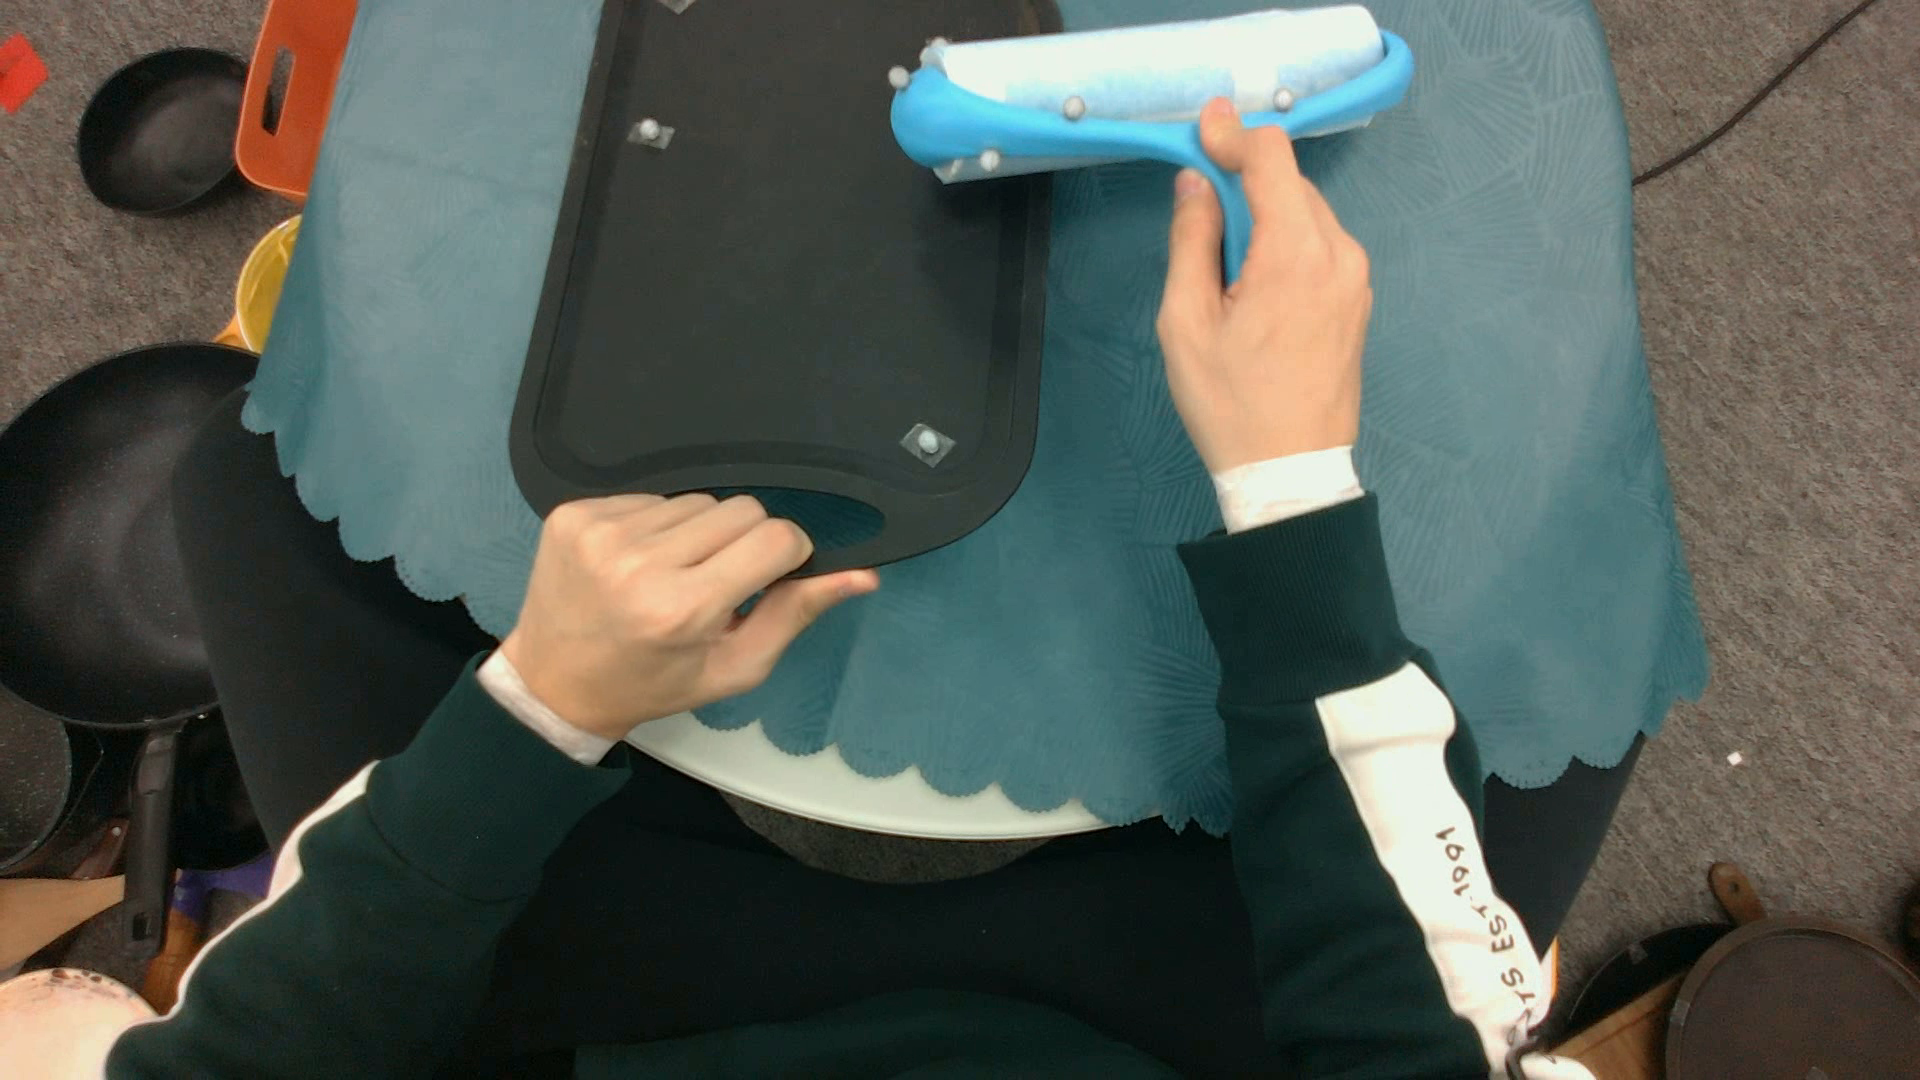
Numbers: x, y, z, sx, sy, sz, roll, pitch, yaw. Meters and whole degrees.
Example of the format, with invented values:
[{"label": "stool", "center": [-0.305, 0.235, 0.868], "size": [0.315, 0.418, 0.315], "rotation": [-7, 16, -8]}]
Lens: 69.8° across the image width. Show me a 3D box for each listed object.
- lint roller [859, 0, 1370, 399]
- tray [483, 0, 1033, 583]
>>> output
[{"label": "lint roller", "center": [0.089, -0.148, 0.564], "size": [0.229, 0.067, 0.180], "rotation": [-15, 65, -19]}, {"label": "tray", "center": [-0.077, -0.132, 0.578], "size": [0.211, 0.010, 0.326], "rotation": [2, 64, 2]}]
